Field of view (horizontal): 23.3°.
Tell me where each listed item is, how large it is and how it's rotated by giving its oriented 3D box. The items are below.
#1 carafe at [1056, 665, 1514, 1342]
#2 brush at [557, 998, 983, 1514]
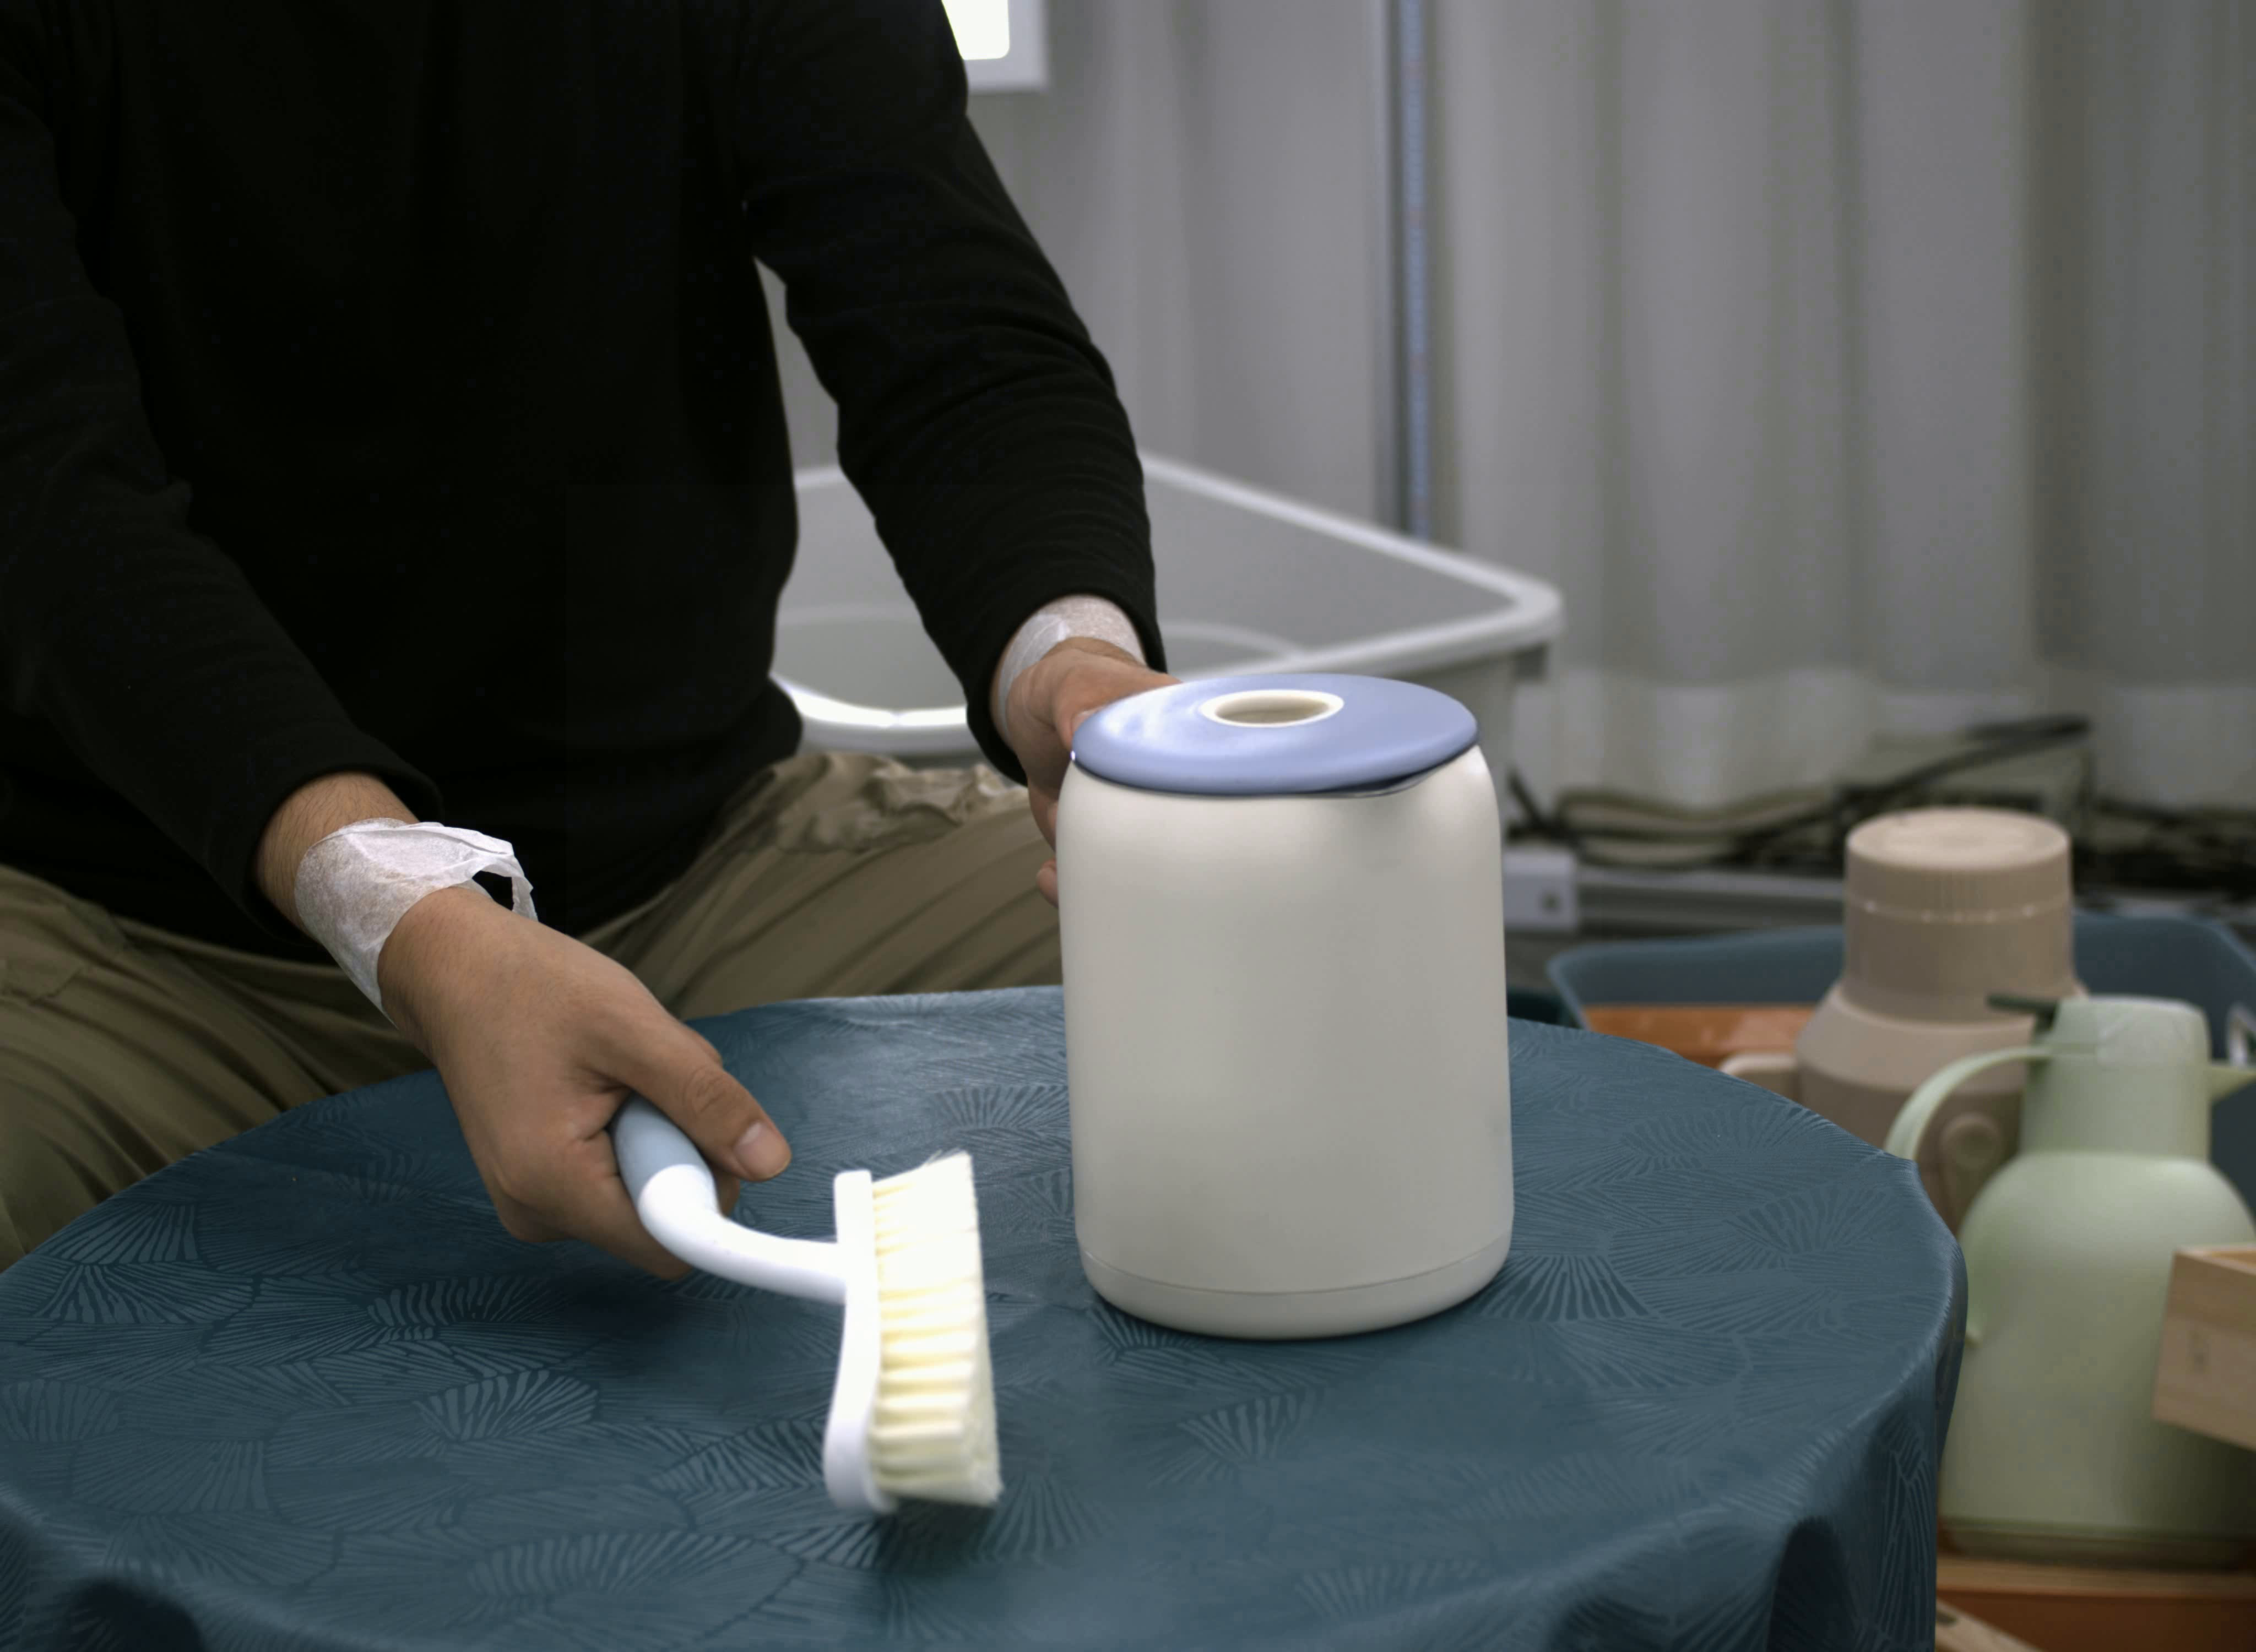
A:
[{"bbox_3d":[0.035,0.046,1.633,0.131,0.182,0.192,-10,14,-27],"label":"carafe"},{"bbox_3d":[-0.087,0.106,1.562,0.084,0.083,0.329,28,9,-23],"label":"brush"}]
